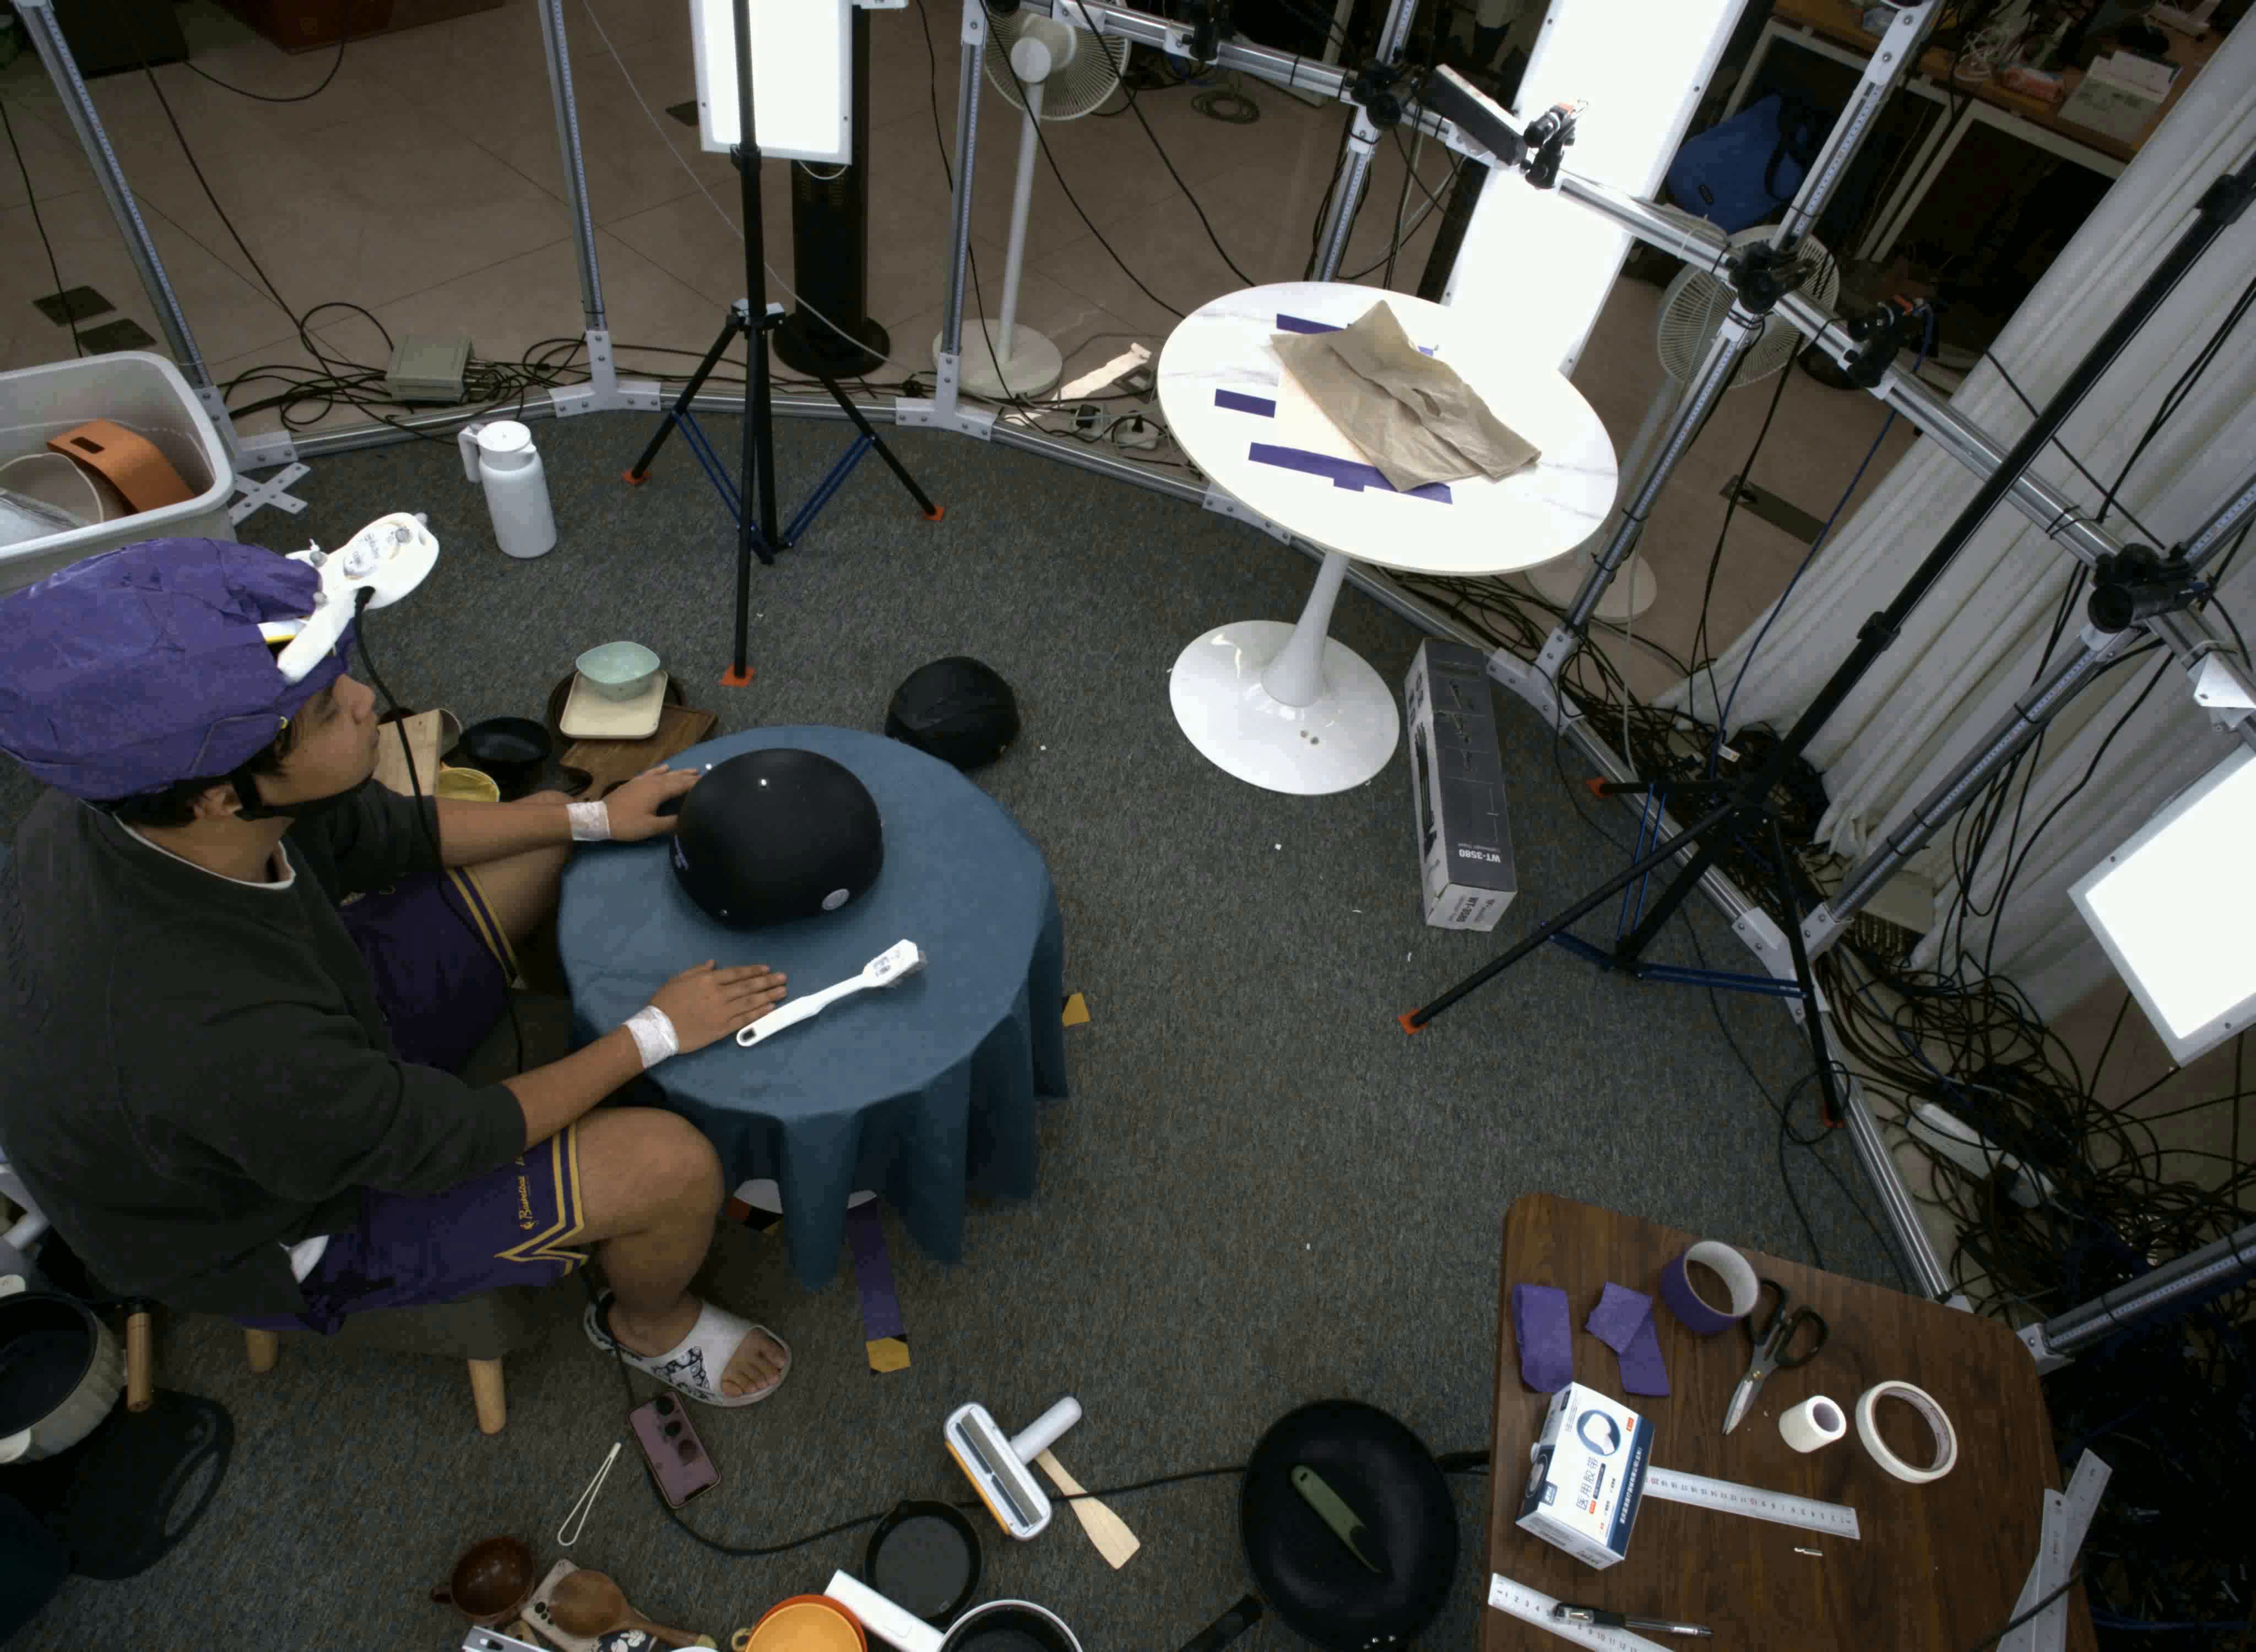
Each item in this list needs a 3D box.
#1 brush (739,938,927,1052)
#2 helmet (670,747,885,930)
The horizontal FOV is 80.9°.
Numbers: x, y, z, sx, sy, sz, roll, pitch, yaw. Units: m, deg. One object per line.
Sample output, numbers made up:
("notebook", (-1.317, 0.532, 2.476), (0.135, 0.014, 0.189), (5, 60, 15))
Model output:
("brush", (-0.356, 0.208, 1.576), (0.243, 0.051, 0.033), (-30, 67, -16))
("helmet", (-0.438, -0.005, 1.627), (0.275, 0.169, 0.225), (-13, 60, -24))
